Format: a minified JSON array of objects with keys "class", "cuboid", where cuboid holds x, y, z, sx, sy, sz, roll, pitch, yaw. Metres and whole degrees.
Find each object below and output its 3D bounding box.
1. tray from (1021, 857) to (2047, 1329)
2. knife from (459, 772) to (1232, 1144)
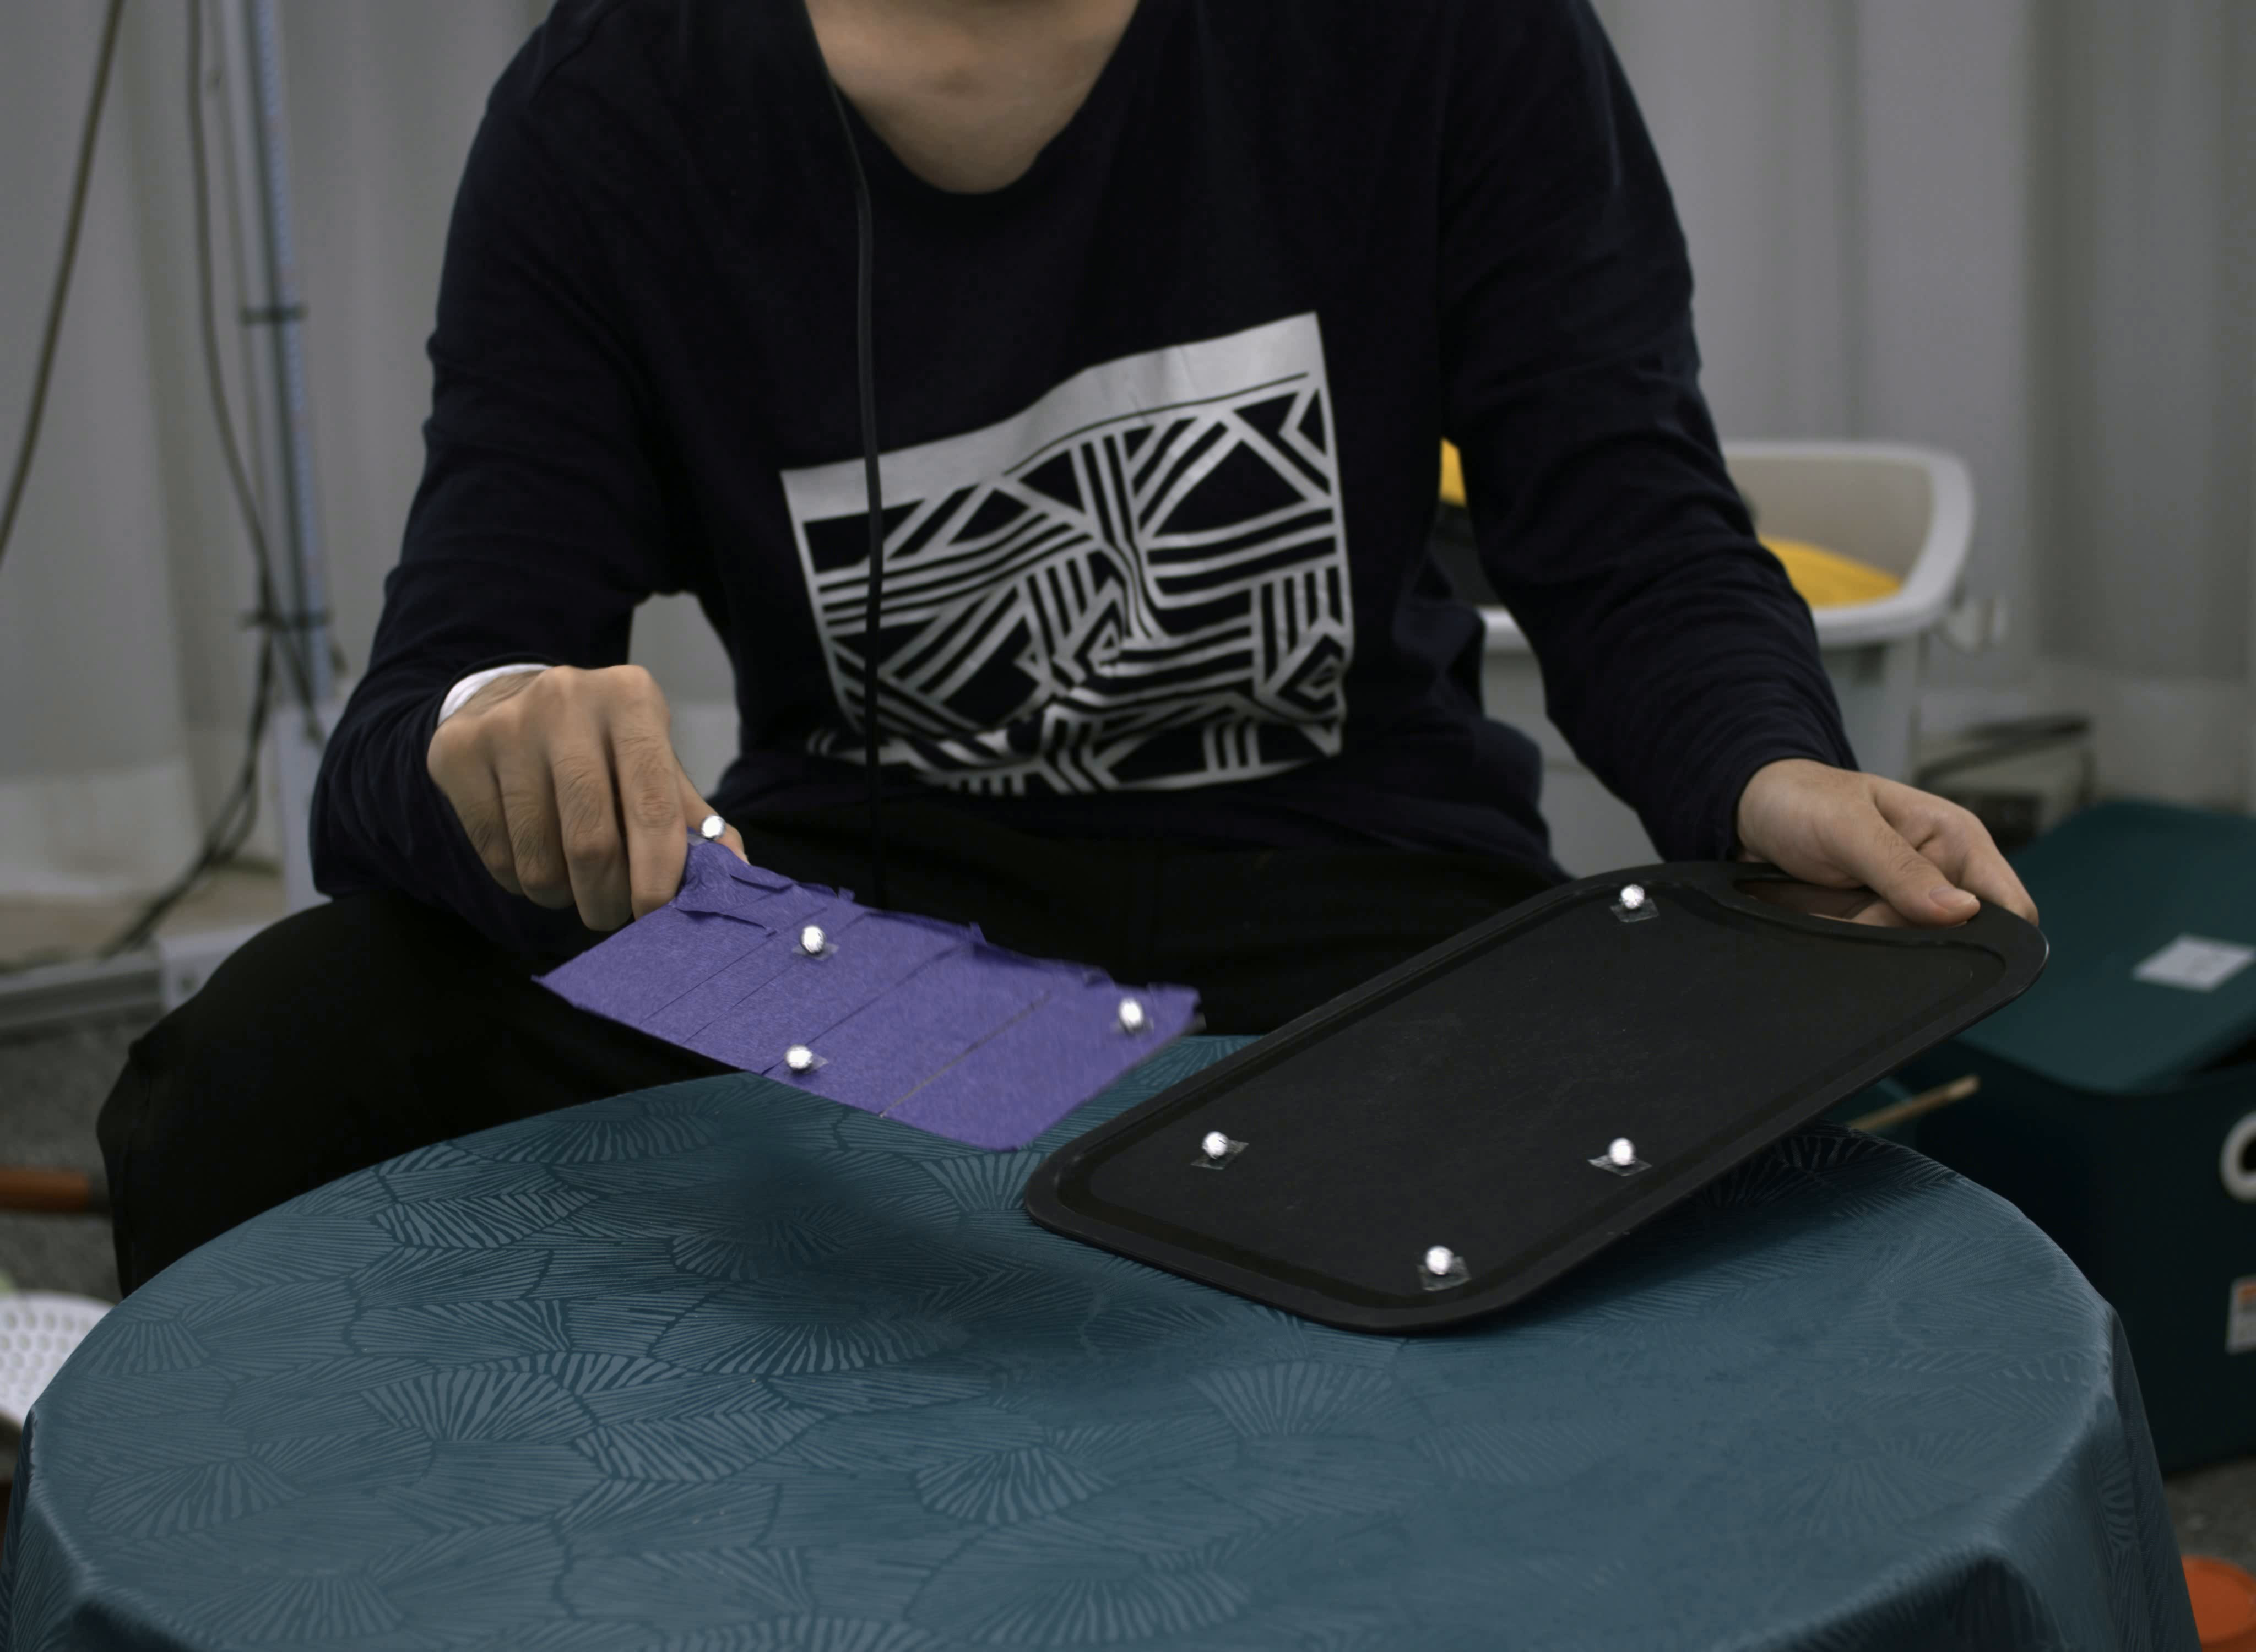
[{"class":"tray","cuboid":[0.134,0.074,1.727,0.325,0.010,0.212,-26,25,-34]},{"class":"knife","cuboid":[-0.116,0.038,1.680,0.317,0.032,0.104,15,32,41]}]
